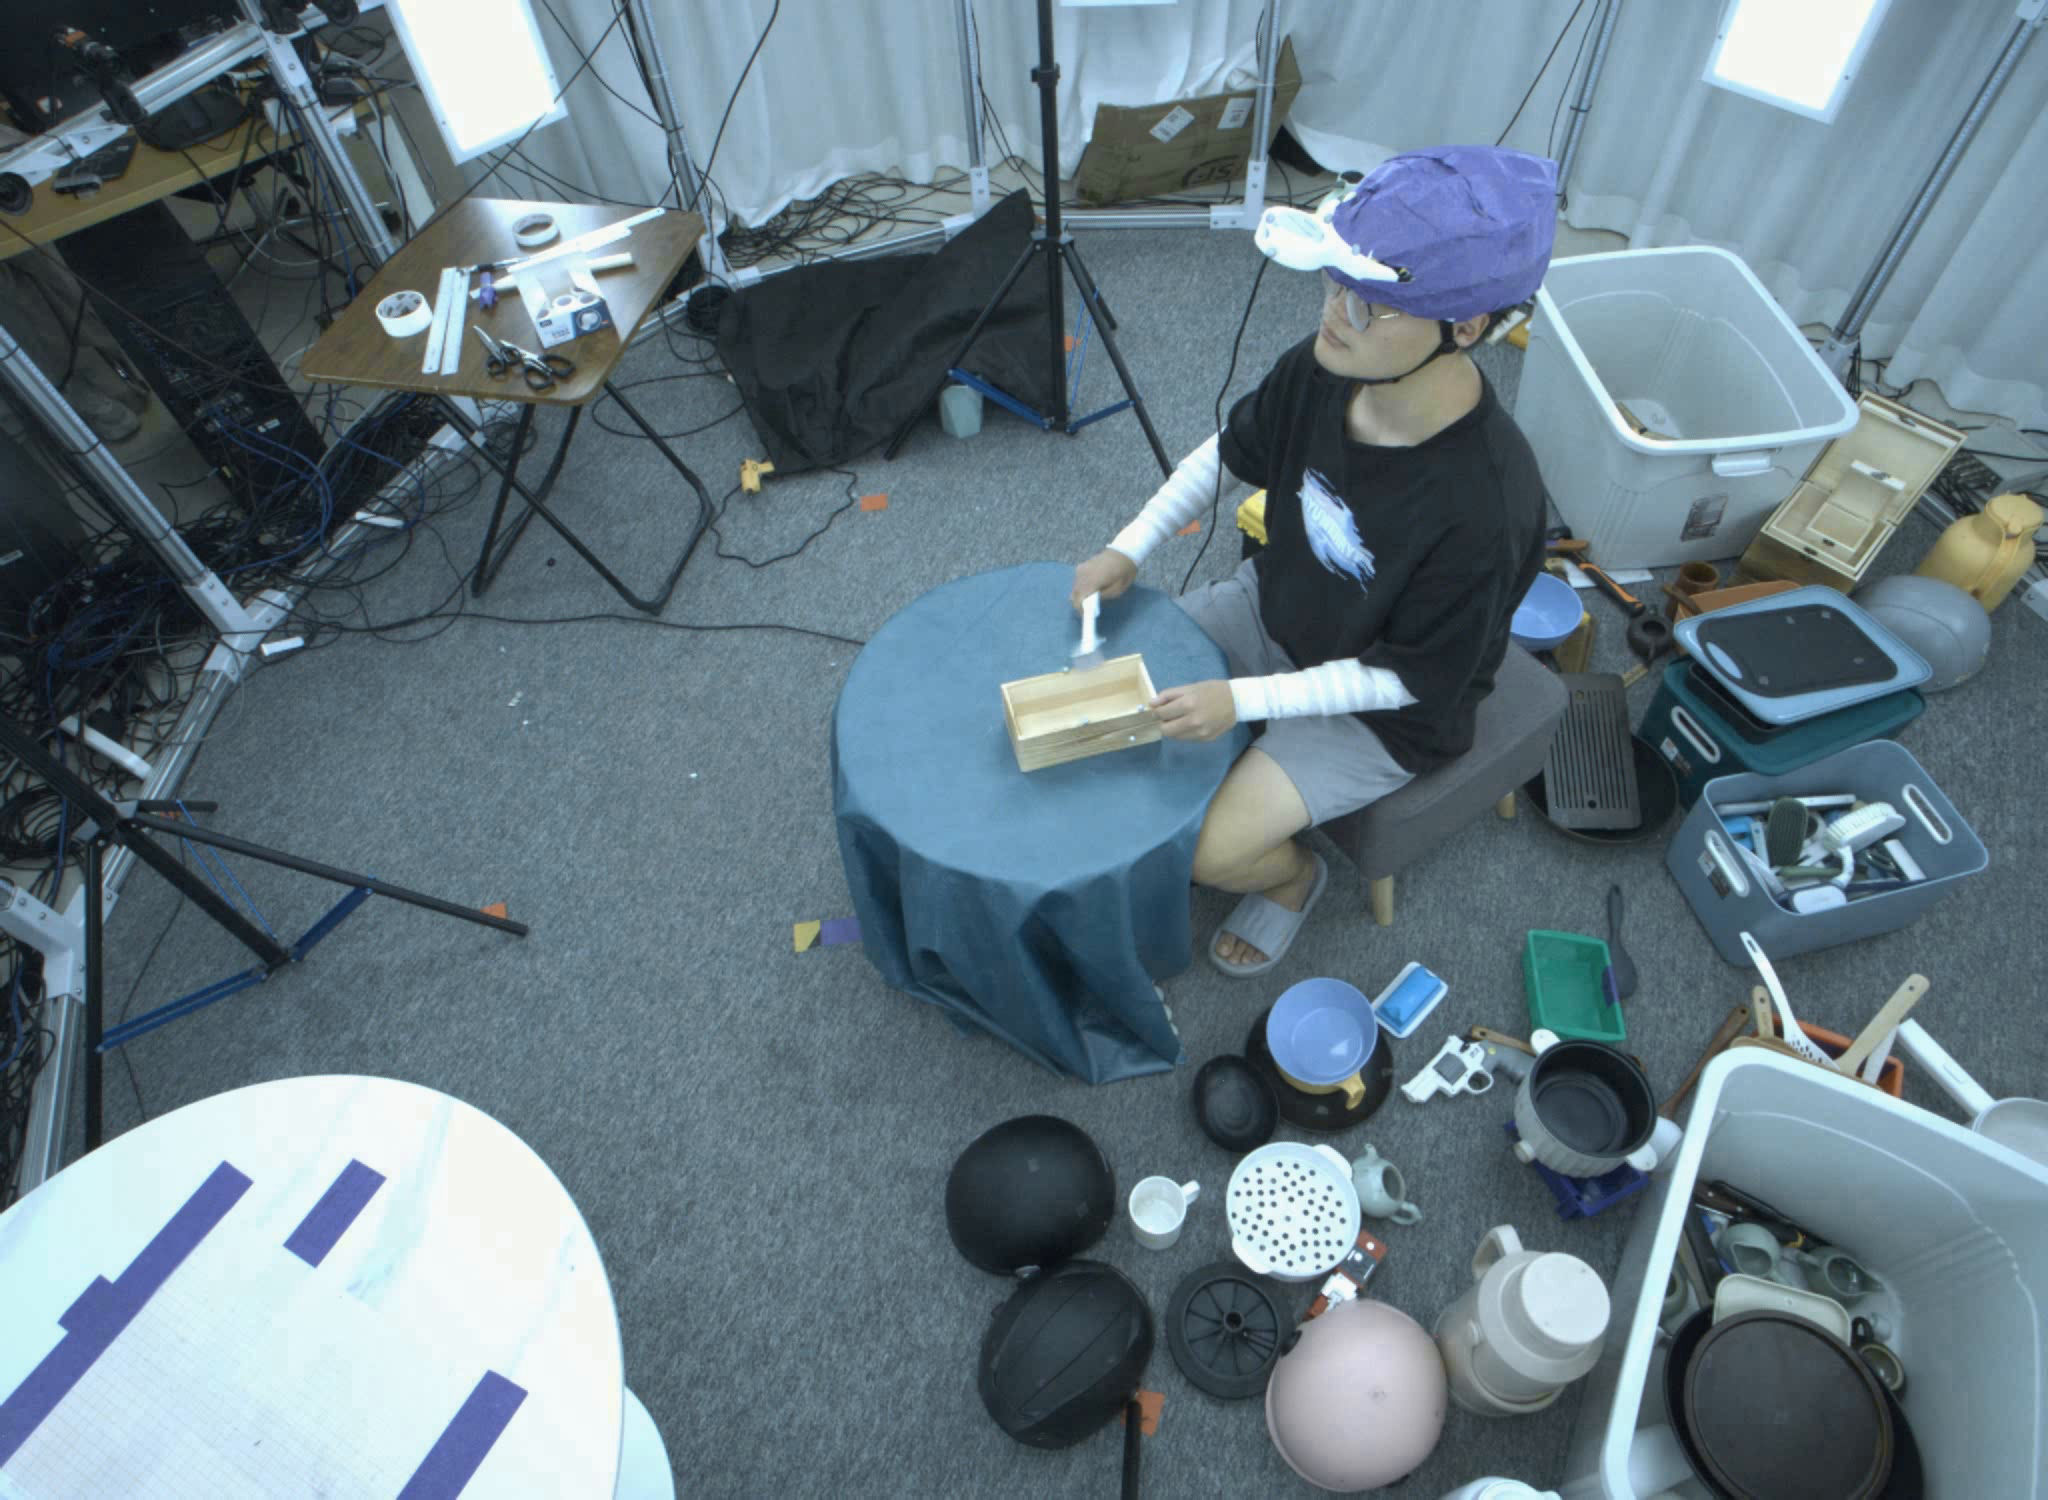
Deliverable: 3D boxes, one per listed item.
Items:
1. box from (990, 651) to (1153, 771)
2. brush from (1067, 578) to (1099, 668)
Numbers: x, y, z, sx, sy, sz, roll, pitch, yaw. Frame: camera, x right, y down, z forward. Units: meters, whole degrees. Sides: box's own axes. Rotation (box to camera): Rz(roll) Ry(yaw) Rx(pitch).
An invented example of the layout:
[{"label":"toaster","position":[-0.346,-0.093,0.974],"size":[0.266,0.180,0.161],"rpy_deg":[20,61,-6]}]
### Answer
[{"label":"box","position":[0.068,-0.057,1.768],"size":[0.213,0.081,0.106],"rpy_deg":[-14,55,-9]},{"label":"brush","position":[0.089,-0.187,1.815],"size":[0.034,0.051,0.241],"rpy_deg":[-18,28,14]}]
